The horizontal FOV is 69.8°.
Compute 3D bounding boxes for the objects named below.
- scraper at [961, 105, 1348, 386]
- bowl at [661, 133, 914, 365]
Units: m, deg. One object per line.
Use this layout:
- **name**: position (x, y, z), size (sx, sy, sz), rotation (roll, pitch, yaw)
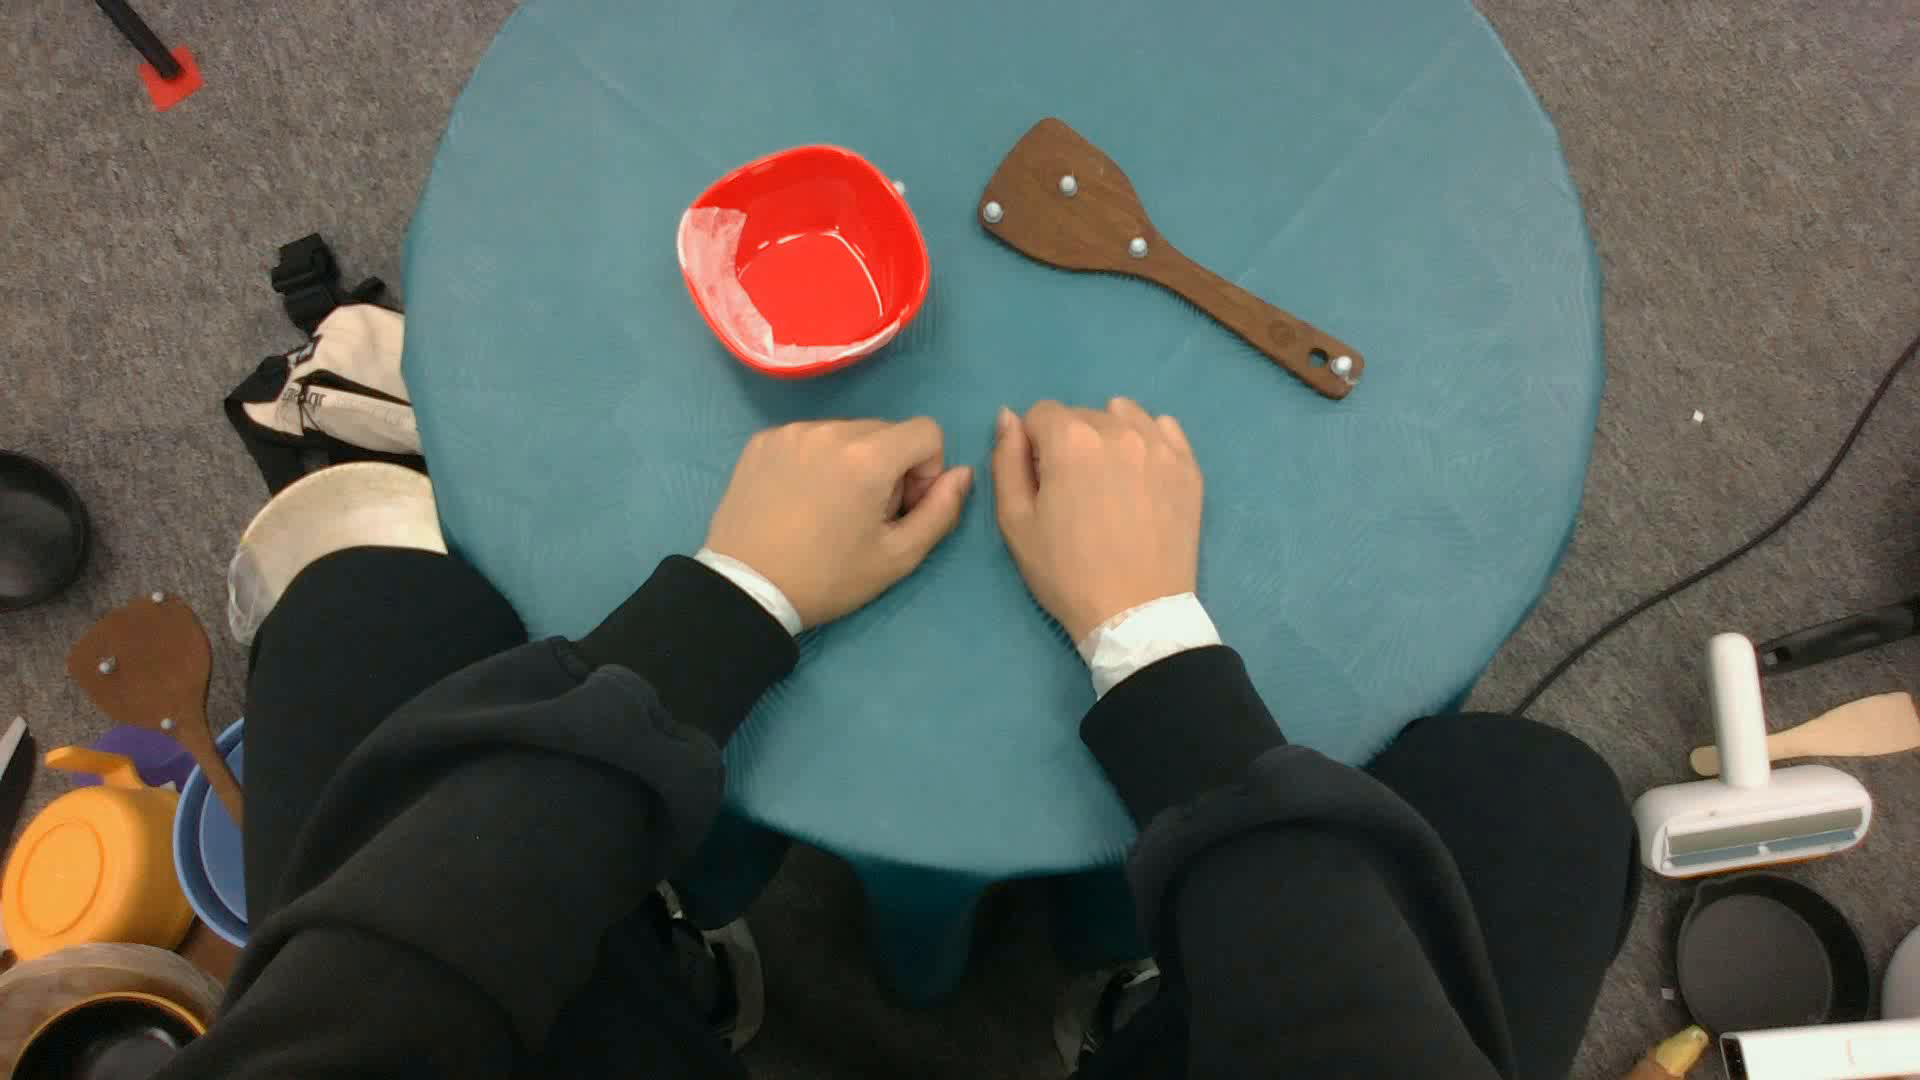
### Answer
- **scraper**: position (0.101, -0.142, 0.694), size (0.211, 0.011, 0.076), rotation (34, 76, 7)
- **bowl**: position (-0.081, -0.131, 0.662), size (0.119, 0.051, 0.119), rotation (1, 71, -3)
